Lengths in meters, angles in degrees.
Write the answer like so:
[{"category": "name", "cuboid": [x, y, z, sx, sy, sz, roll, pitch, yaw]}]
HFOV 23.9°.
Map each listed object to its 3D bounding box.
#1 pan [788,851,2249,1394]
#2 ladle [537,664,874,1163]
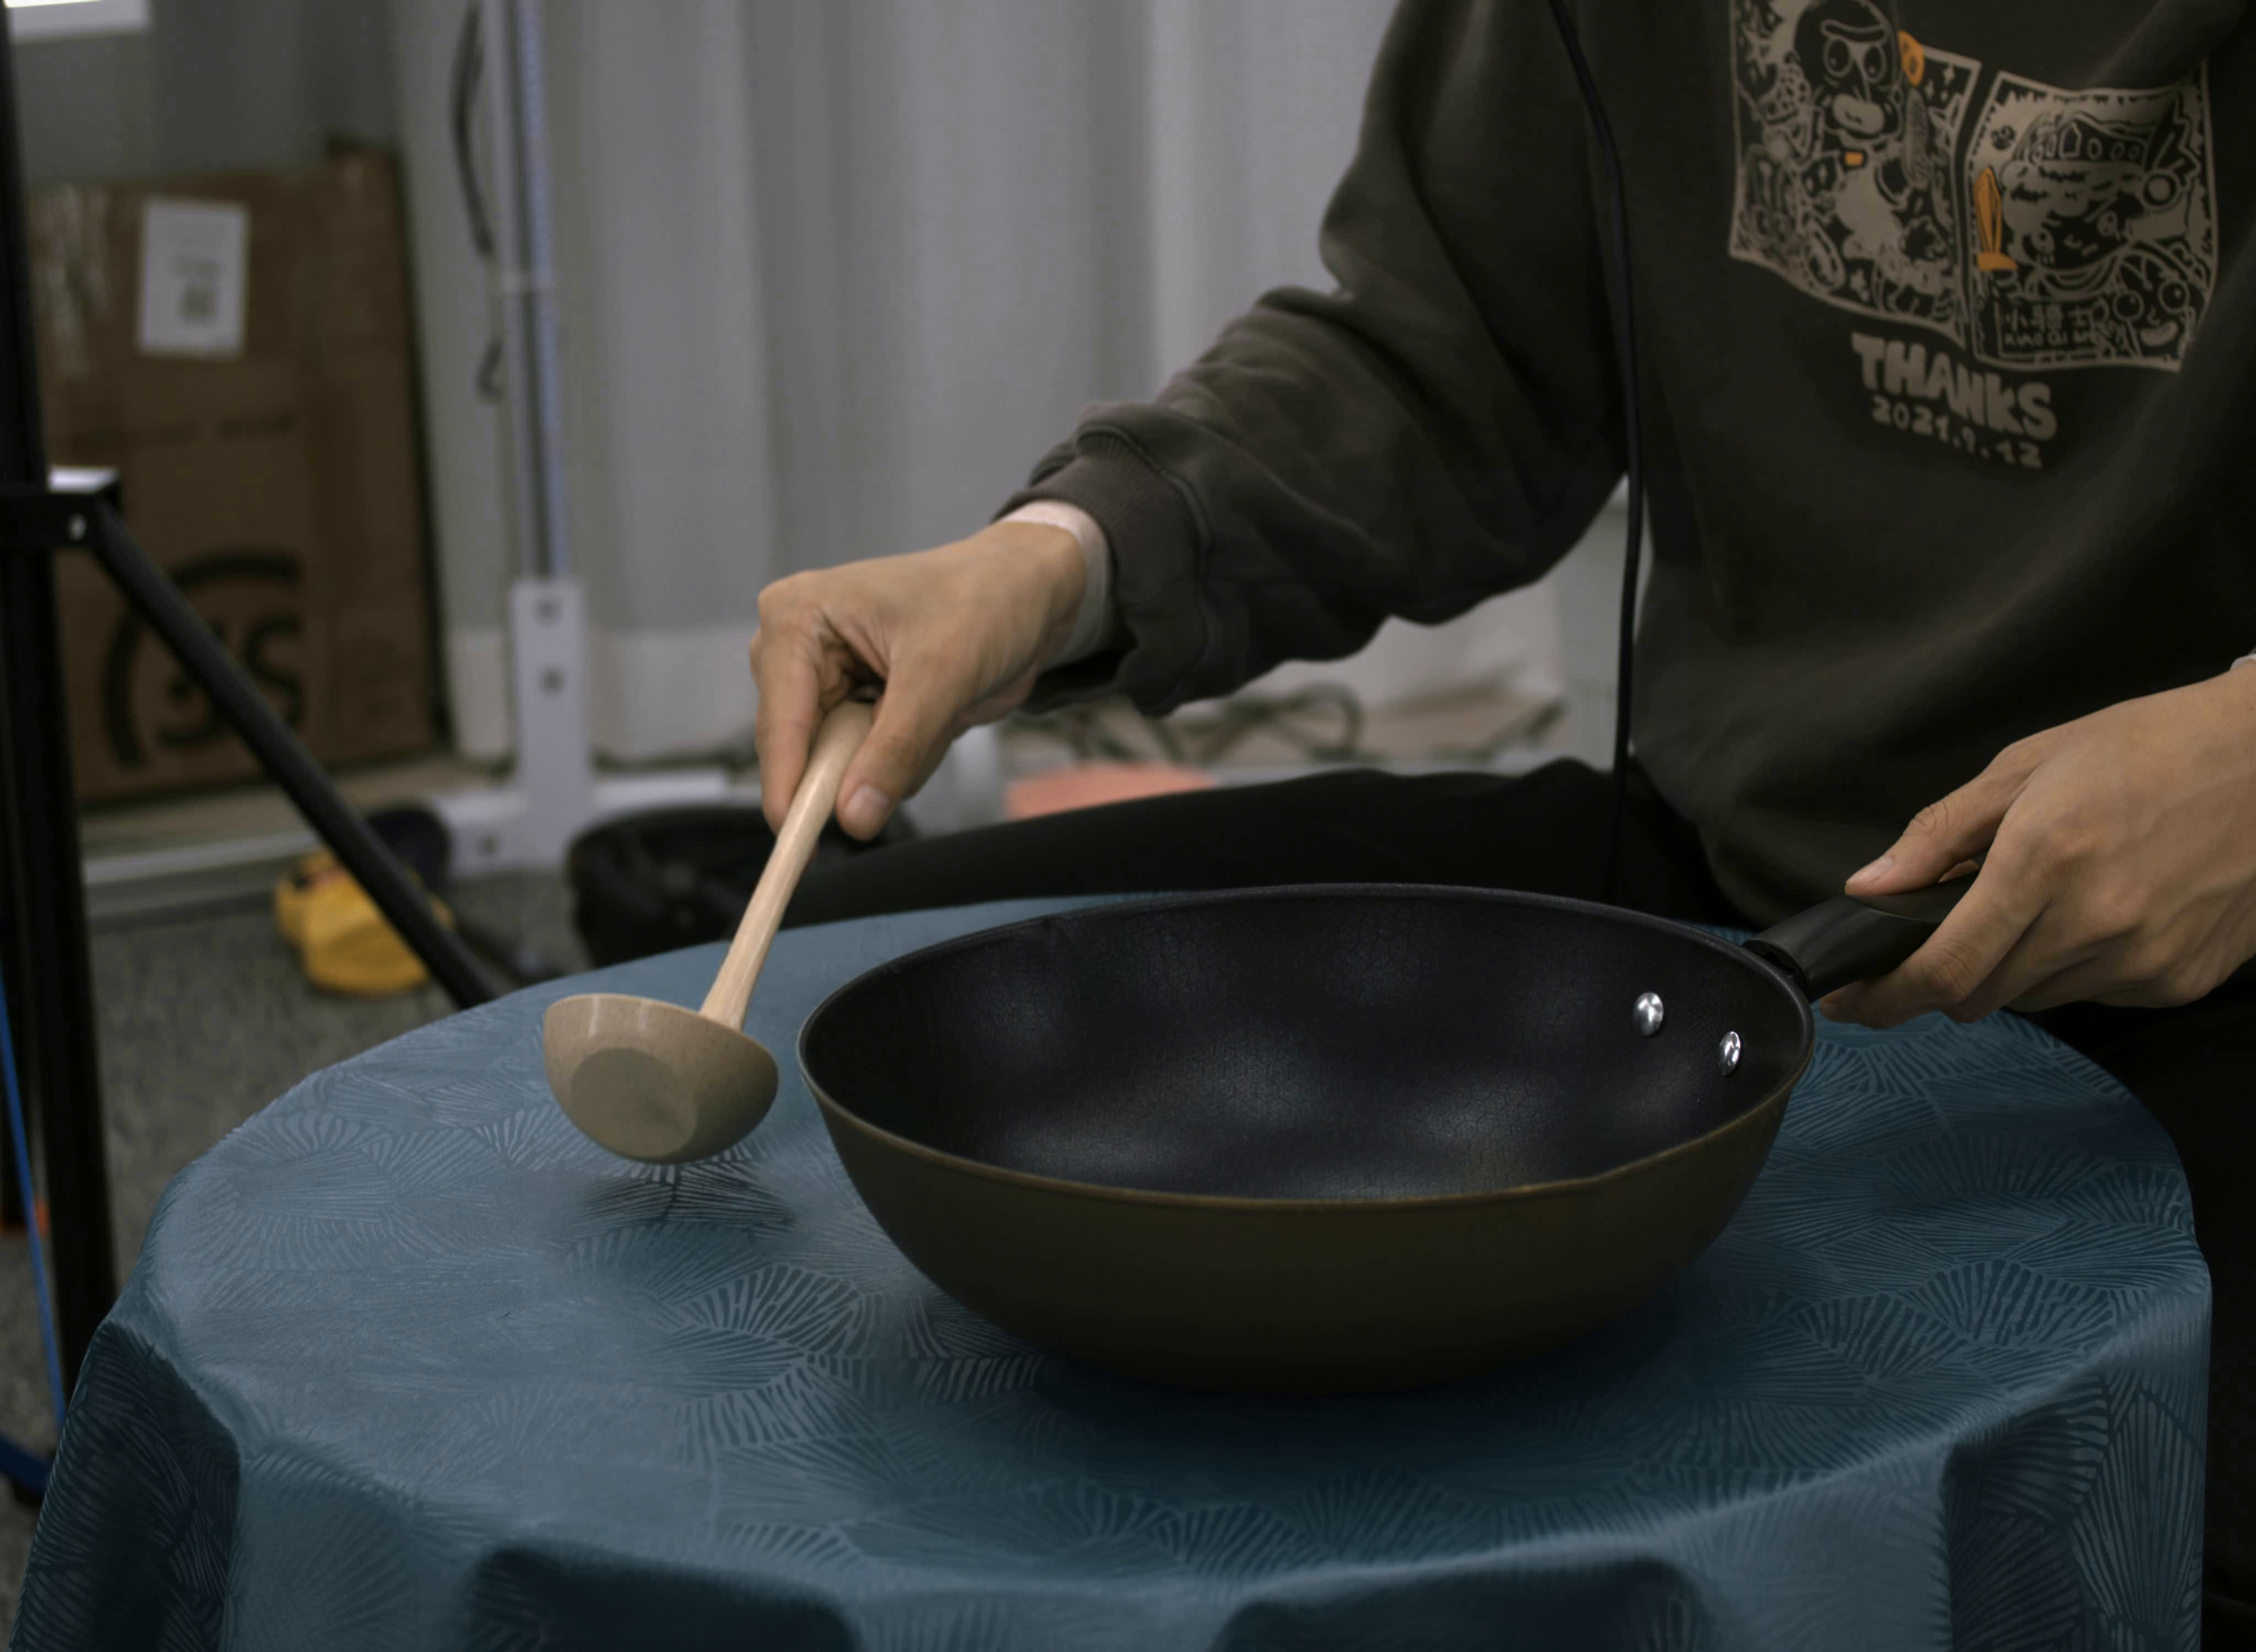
[{"category": "pan", "cuboid": [0.127, 0.077, 1.497, 0.453, 0.087, 0.294, -9, 17, -26]}, {"category": "ladle", "cuboid": [-0.119, 0.002, 1.646, 0.072, 0.072, 0.255, 2, 41, 13]}]
